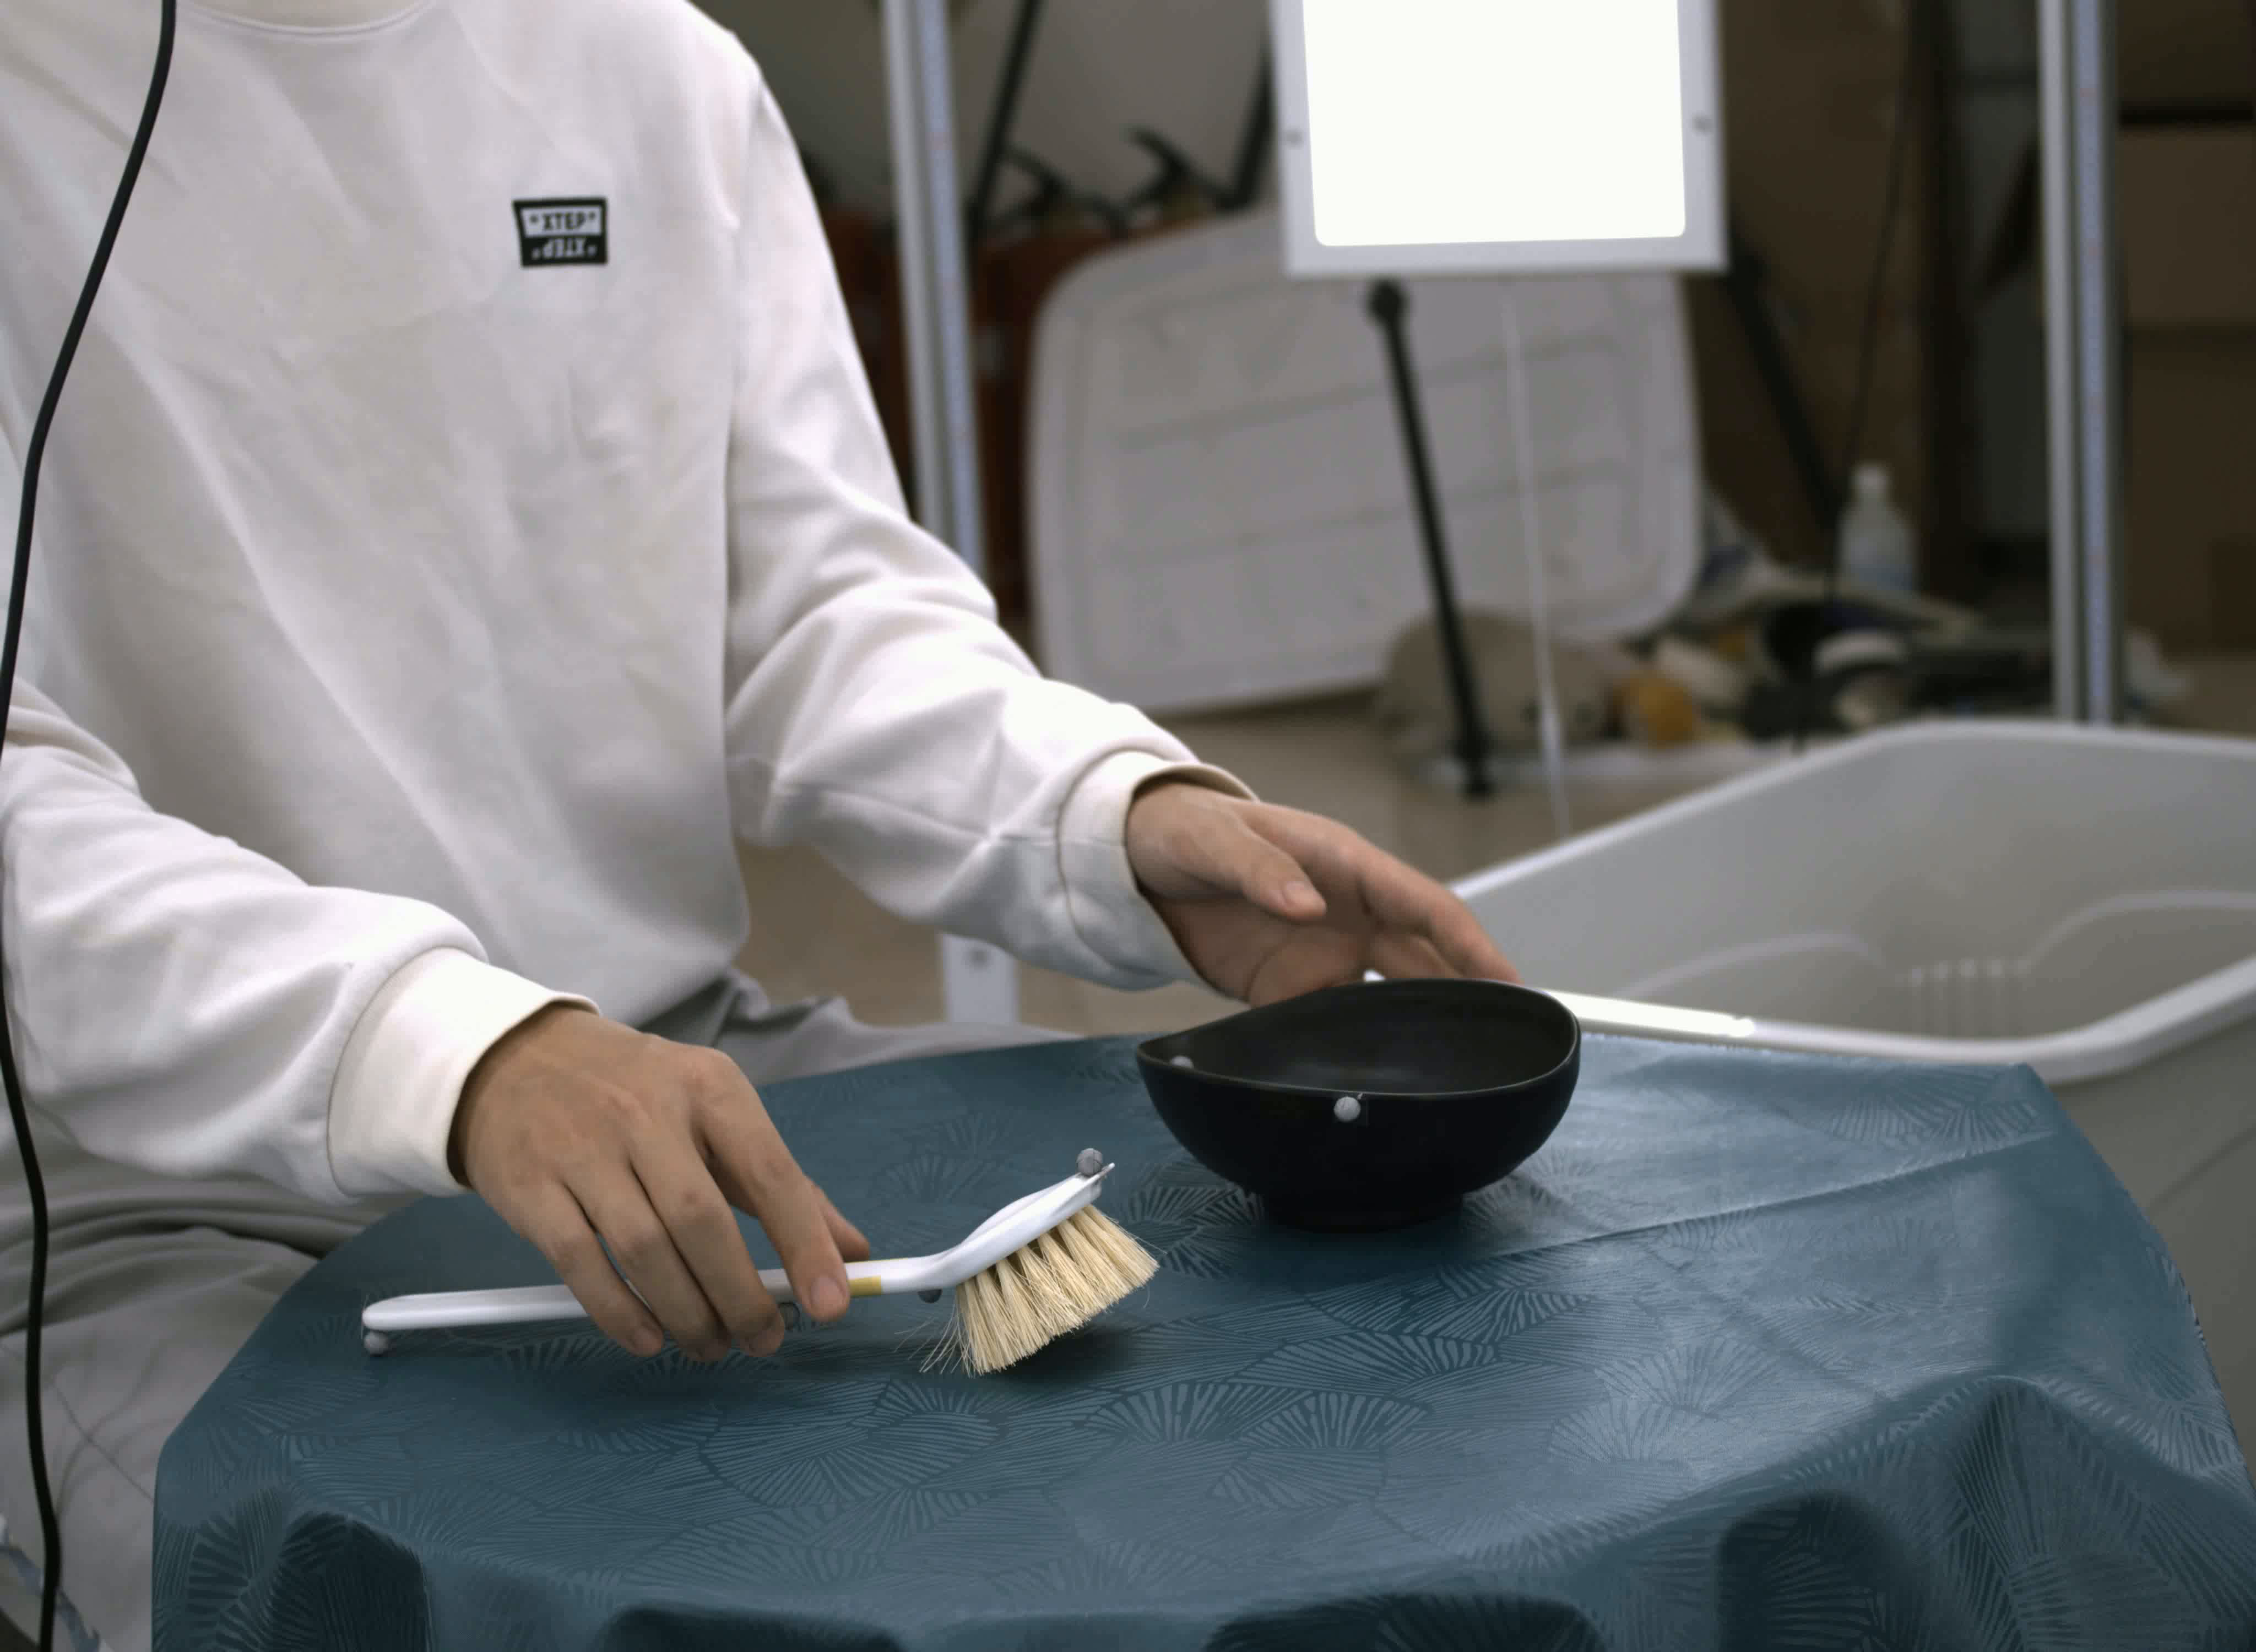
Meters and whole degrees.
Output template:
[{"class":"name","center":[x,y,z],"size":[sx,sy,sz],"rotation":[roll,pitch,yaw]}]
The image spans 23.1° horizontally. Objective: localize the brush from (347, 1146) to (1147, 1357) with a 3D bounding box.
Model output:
[{"class":"brush","center":[-0.121,0.155,1.769],"size":[0.269,0.056,0.068],"rotation":[-13,-3,14]}]

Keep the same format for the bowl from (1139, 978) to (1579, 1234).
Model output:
[{"class":"bowl","center":[0.078,0.098,1.855],"size":[0.134,0.067,0.174],"rotation":[-16,14,-38]}]
